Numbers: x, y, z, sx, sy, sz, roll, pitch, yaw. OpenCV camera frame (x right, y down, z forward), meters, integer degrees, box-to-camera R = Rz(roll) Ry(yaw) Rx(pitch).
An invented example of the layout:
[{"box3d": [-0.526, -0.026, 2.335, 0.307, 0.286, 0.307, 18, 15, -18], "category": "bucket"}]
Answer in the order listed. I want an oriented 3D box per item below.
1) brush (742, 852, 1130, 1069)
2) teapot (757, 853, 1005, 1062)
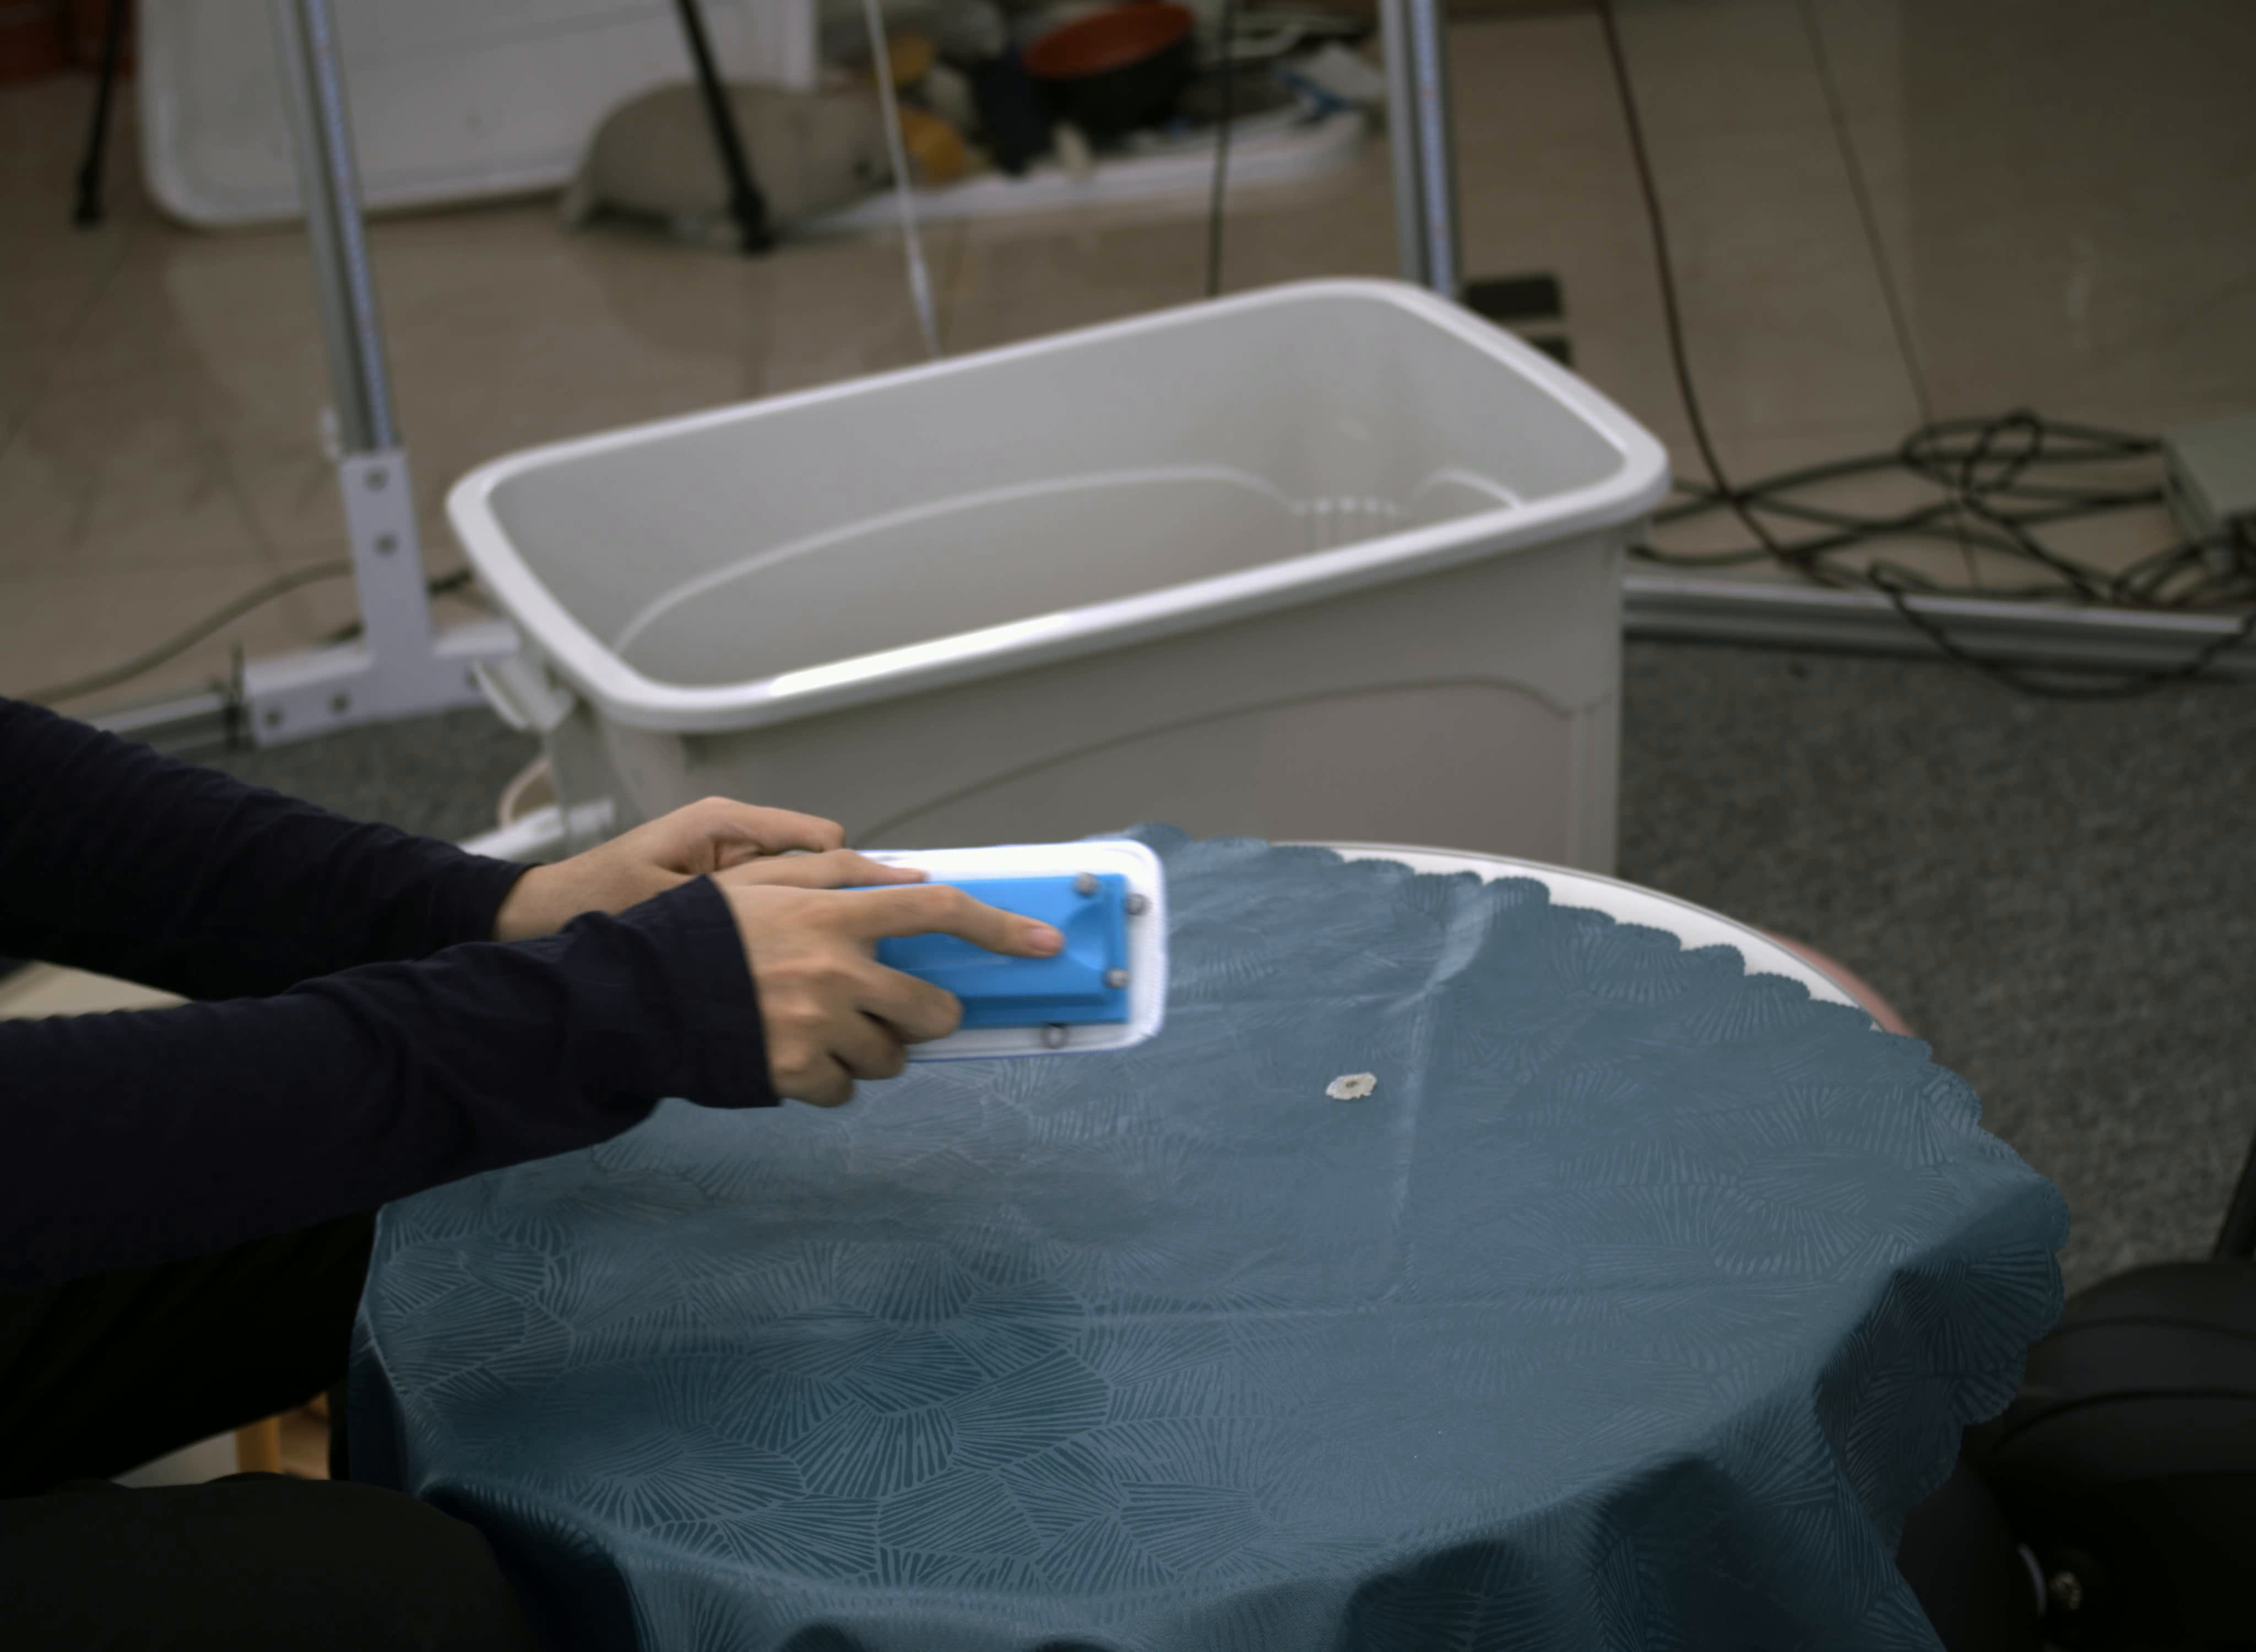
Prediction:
[{"box3d": [-0.072, 0.044, 2.078, 0.144, 0.083, 0.056, -1, -15, 4], "category": "brush"}, {"box3d": [-0.078, 0.050, 2.144, 0.132, 0.075, 0.080, 3, -3, 13], "category": "teapot"}]
